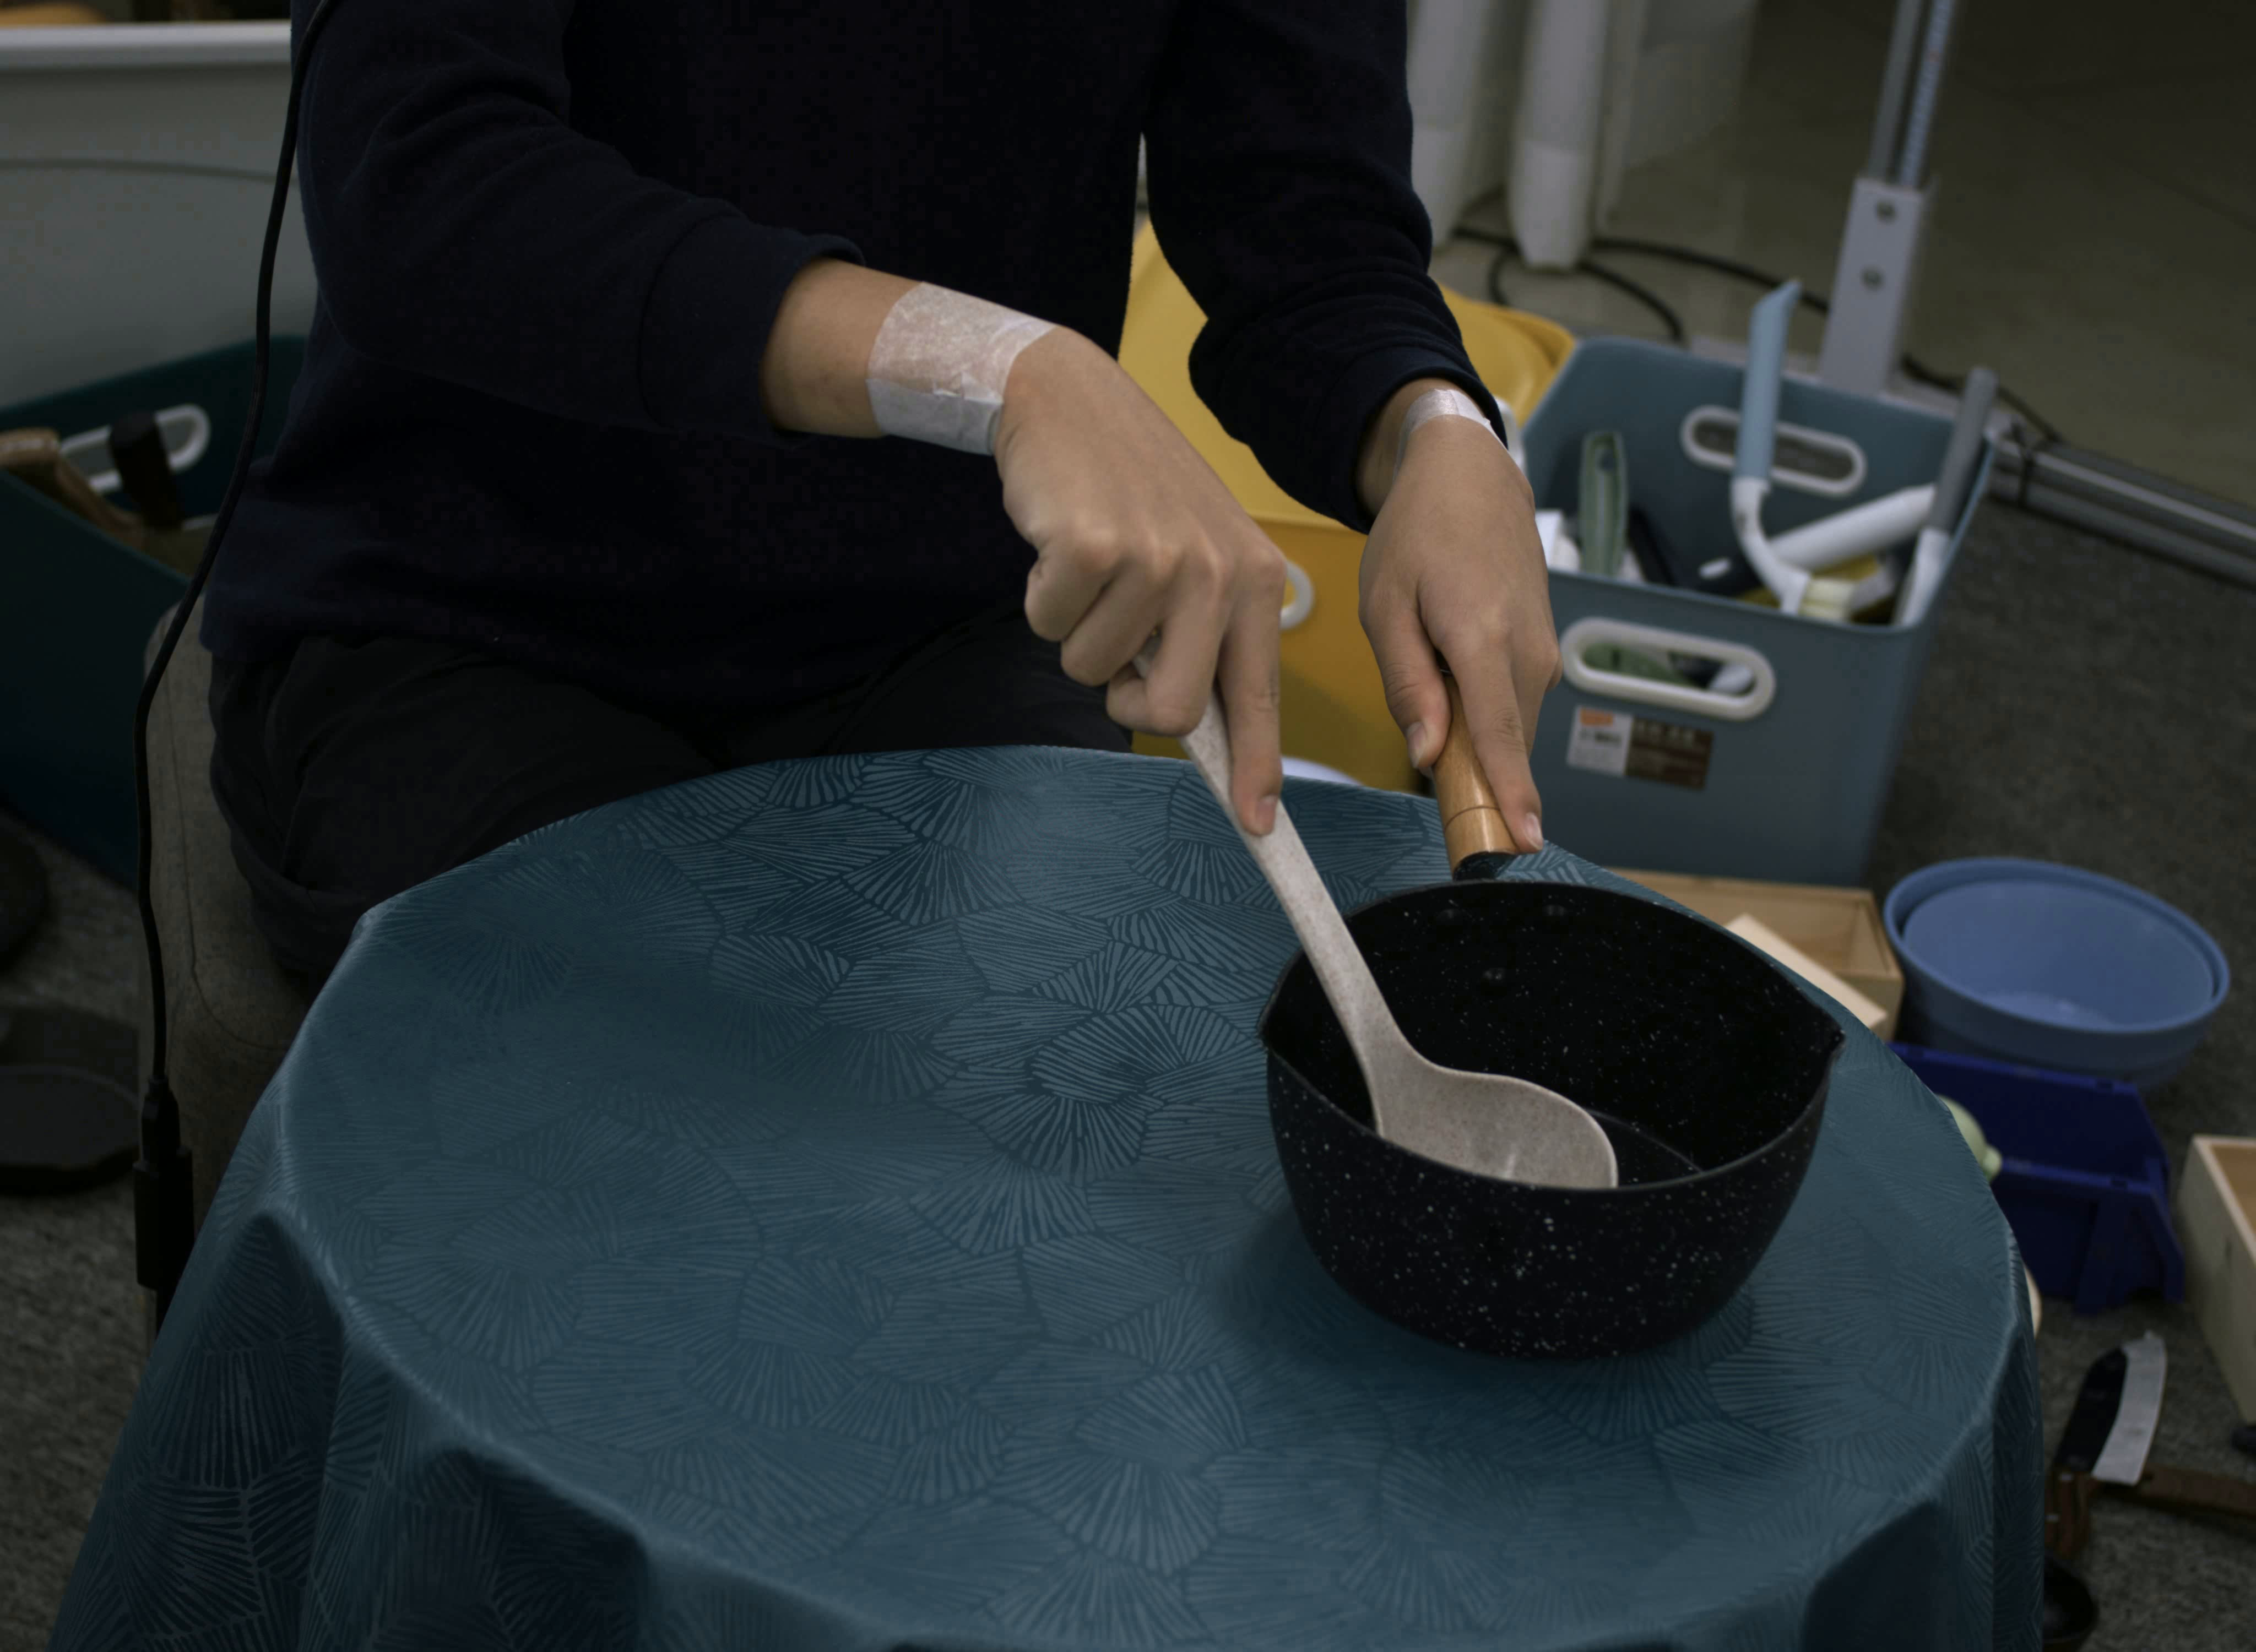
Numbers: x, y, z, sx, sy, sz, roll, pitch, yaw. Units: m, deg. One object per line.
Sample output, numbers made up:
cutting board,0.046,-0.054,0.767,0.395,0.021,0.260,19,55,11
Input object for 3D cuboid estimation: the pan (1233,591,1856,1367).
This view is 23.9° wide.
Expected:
pan,0.127,0.050,1.834,0.206,0.108,0.345,-1,33,-8

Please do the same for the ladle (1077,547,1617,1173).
ladle,0.071,0.023,1.741,0.069,0.274,0.089,-11,22,50
